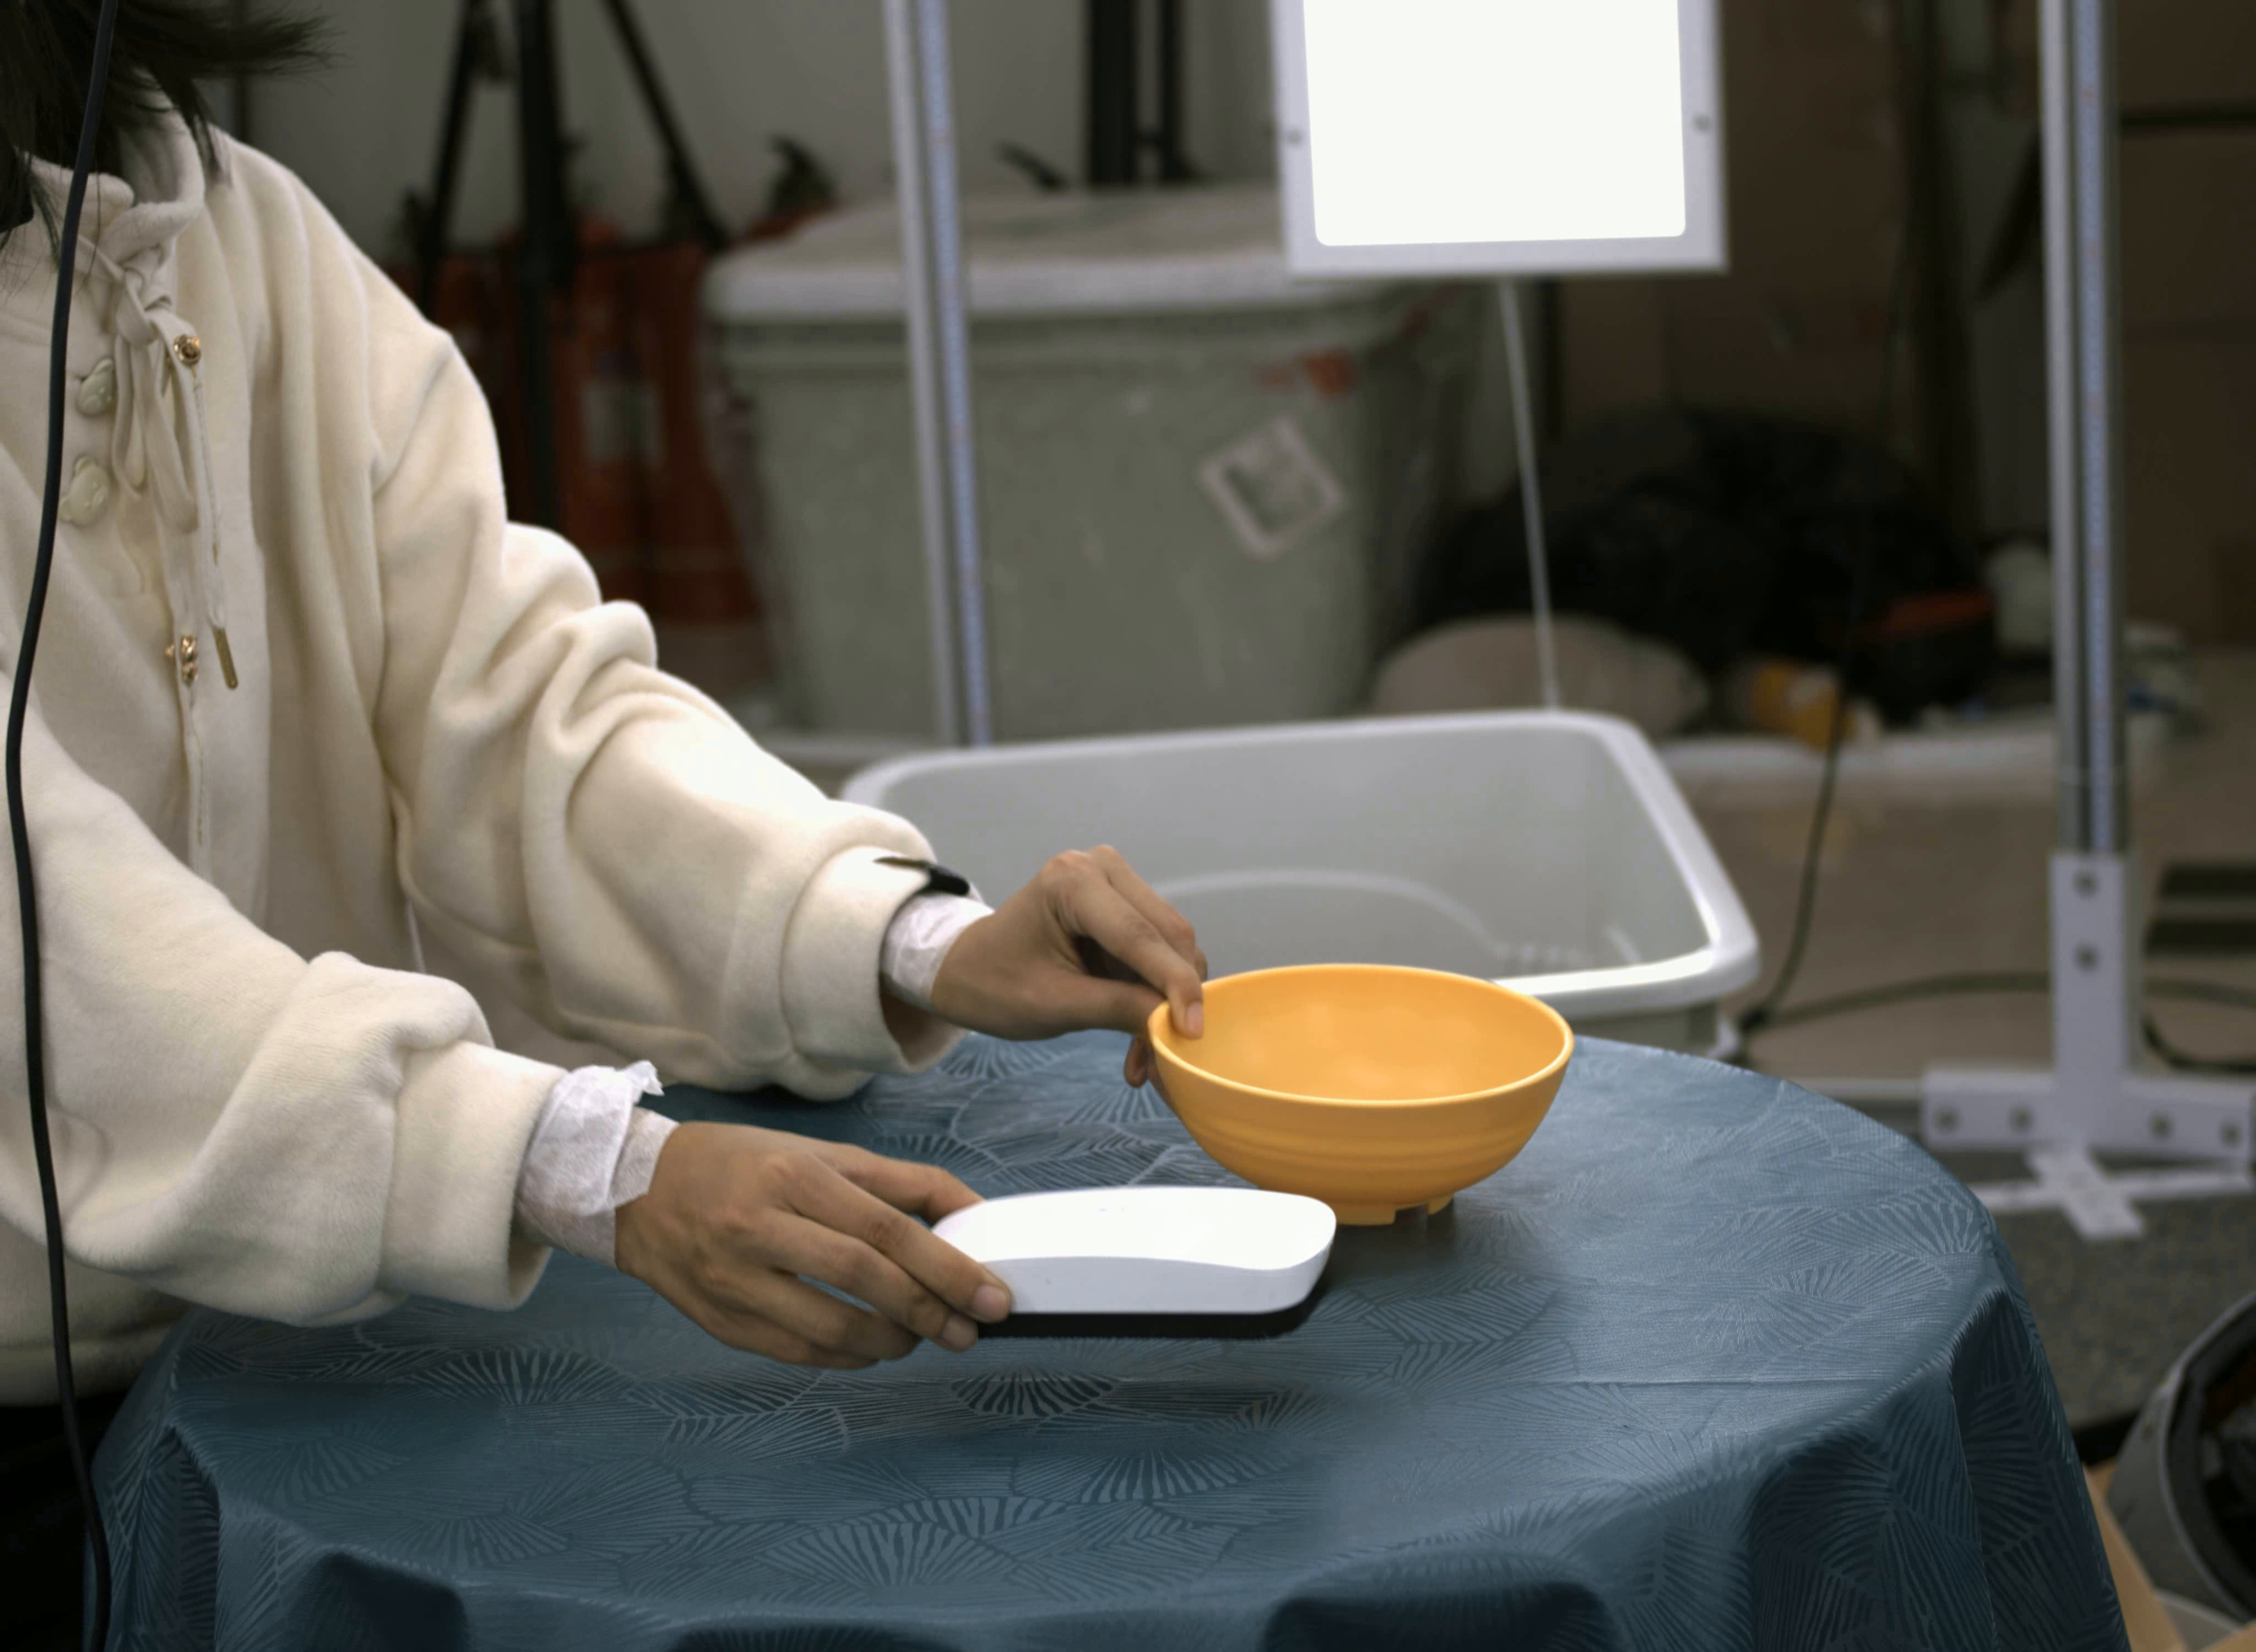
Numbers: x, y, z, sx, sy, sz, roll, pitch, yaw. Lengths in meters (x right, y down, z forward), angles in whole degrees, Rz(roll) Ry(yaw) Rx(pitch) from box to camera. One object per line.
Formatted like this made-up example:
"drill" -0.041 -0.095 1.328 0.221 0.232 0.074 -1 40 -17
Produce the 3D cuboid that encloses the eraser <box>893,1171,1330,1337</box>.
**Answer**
"eraser" -0.004 0.132 1.689 0.133 0.034 0.062 -1 15 21

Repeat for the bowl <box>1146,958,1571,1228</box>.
"bowl" 0.076 0.096 1.858 0.145 0.060 0.145 2 18 -2
